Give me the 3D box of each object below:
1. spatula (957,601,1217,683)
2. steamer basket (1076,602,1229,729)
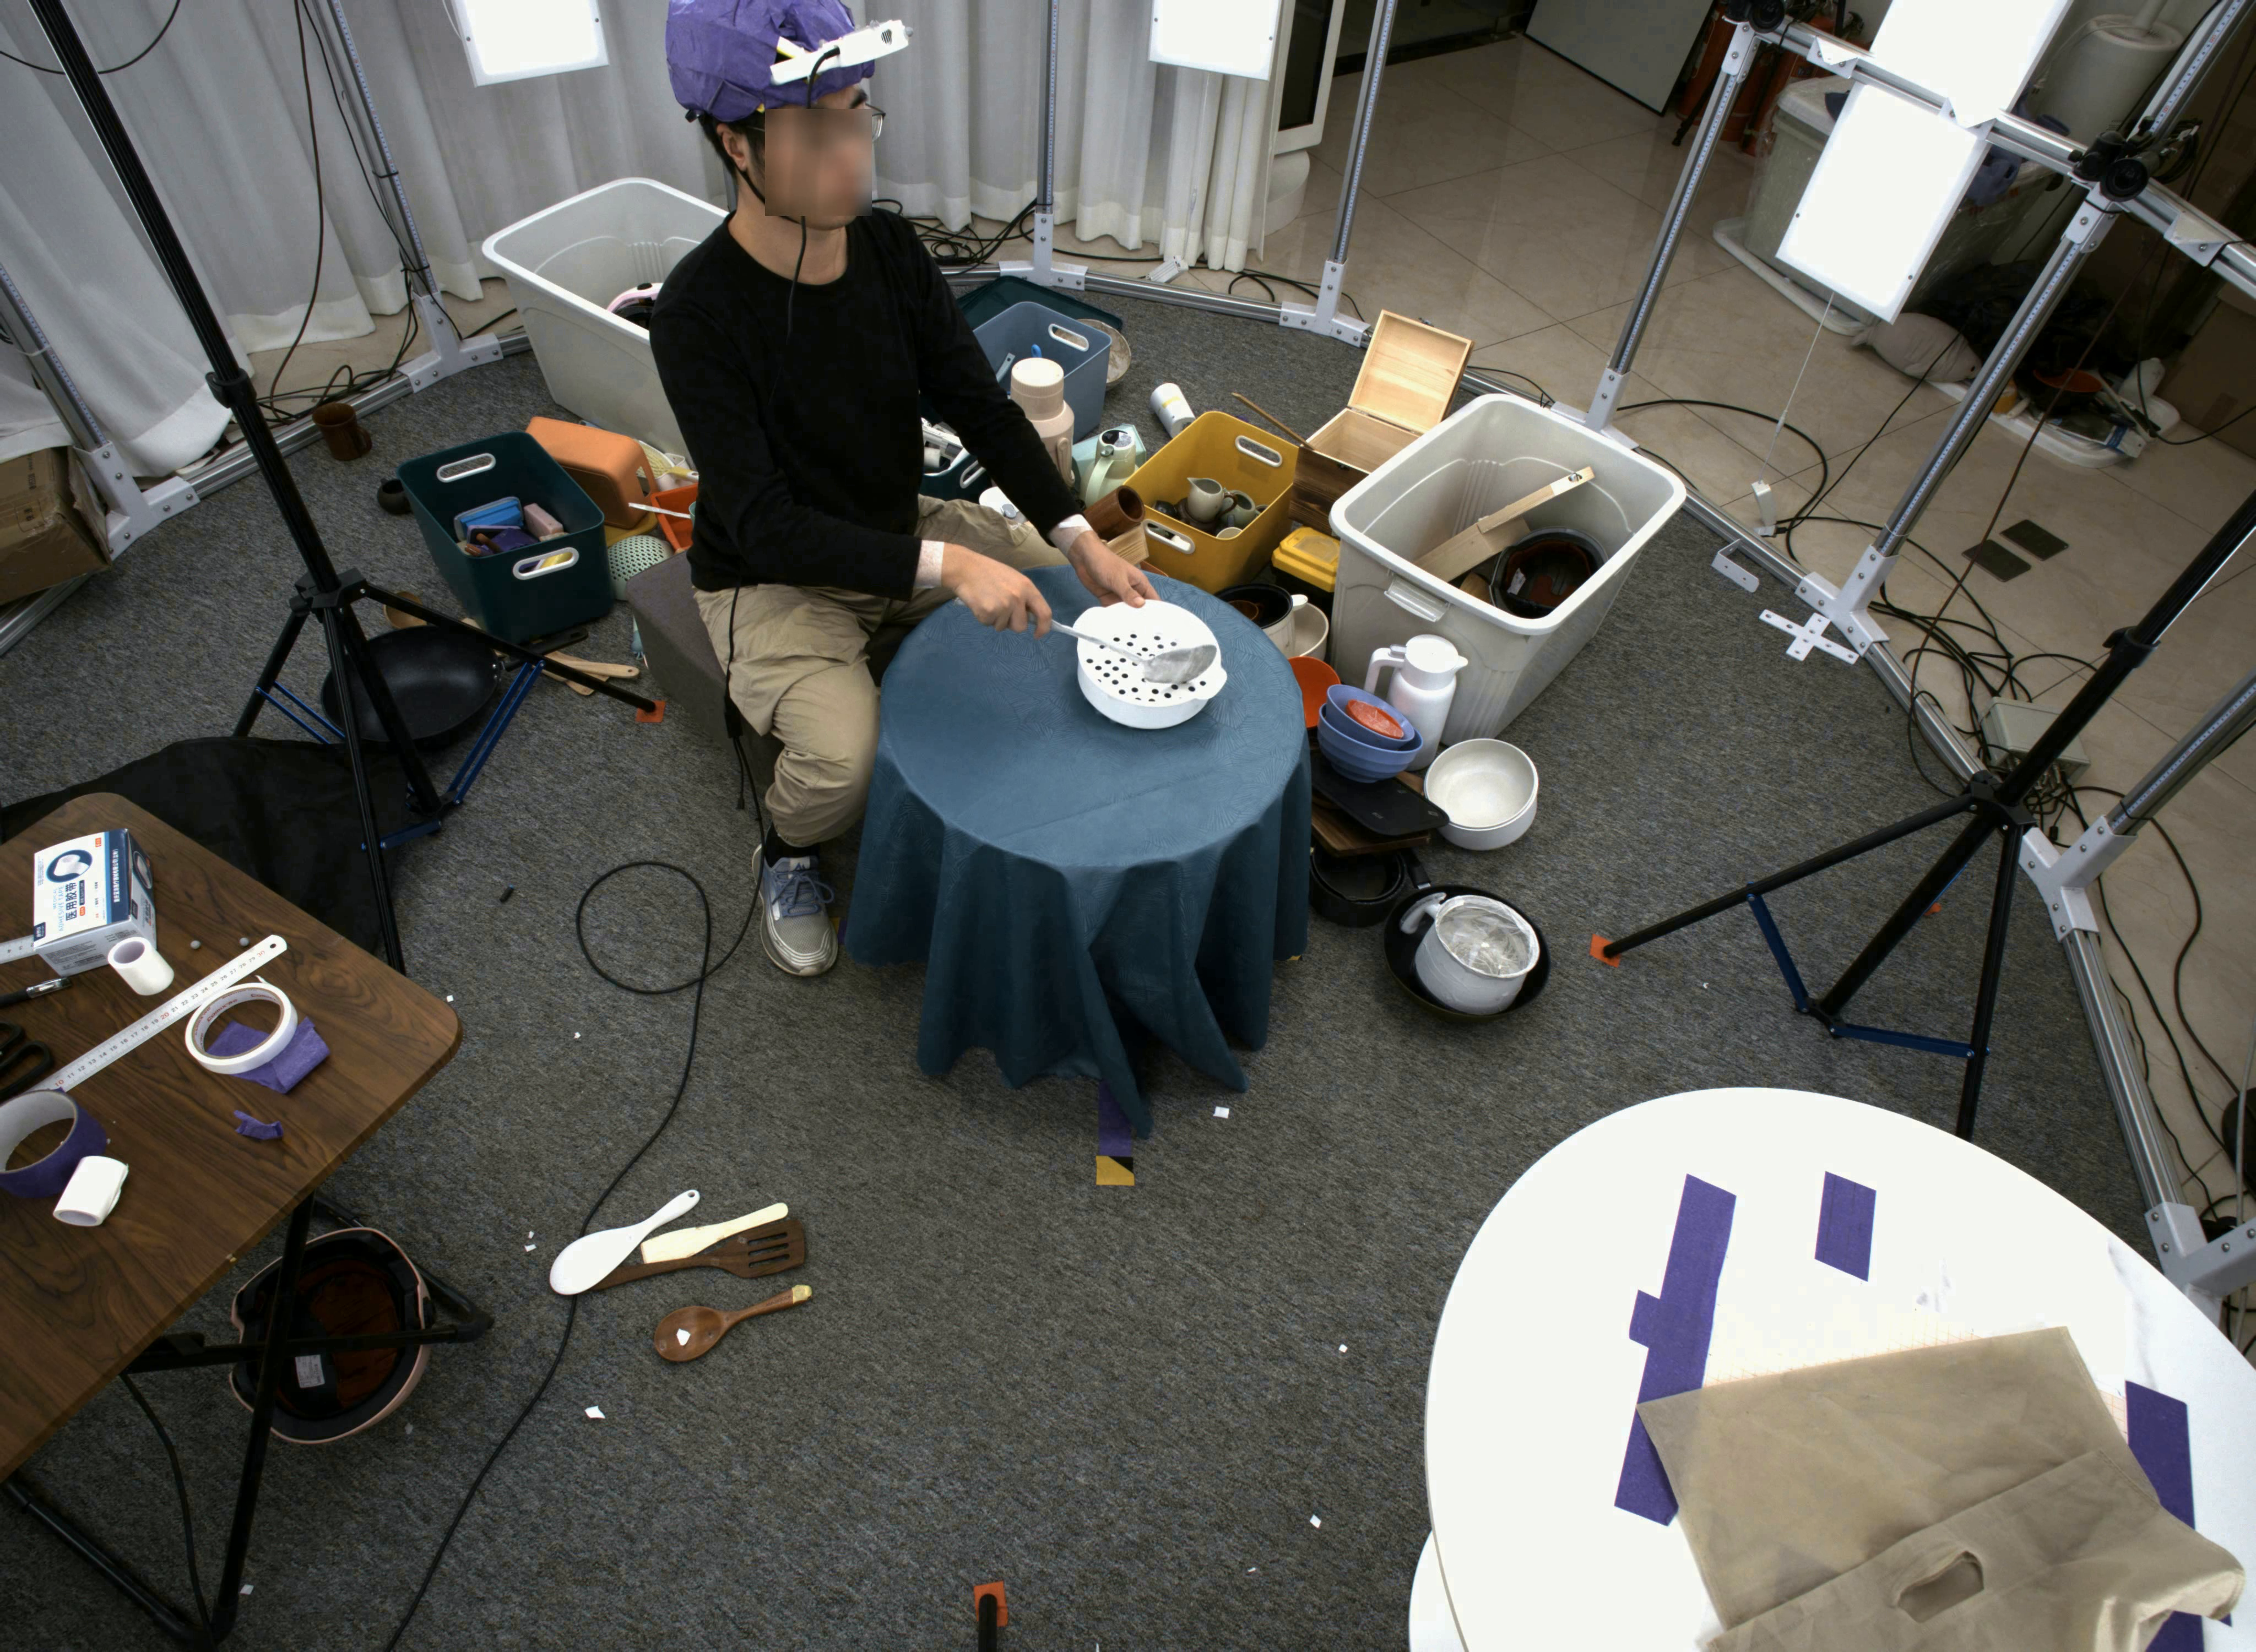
[{"bbox_3d":[-0.053,-0.261,1.755,0.362,0.097,0.046,16,58,-16],"label":"spatula"},{"bbox_3d":[0.031,-0.226,1.818,0.232,0.067,0.205,29,54,16],"label":"steamer basket"}]
